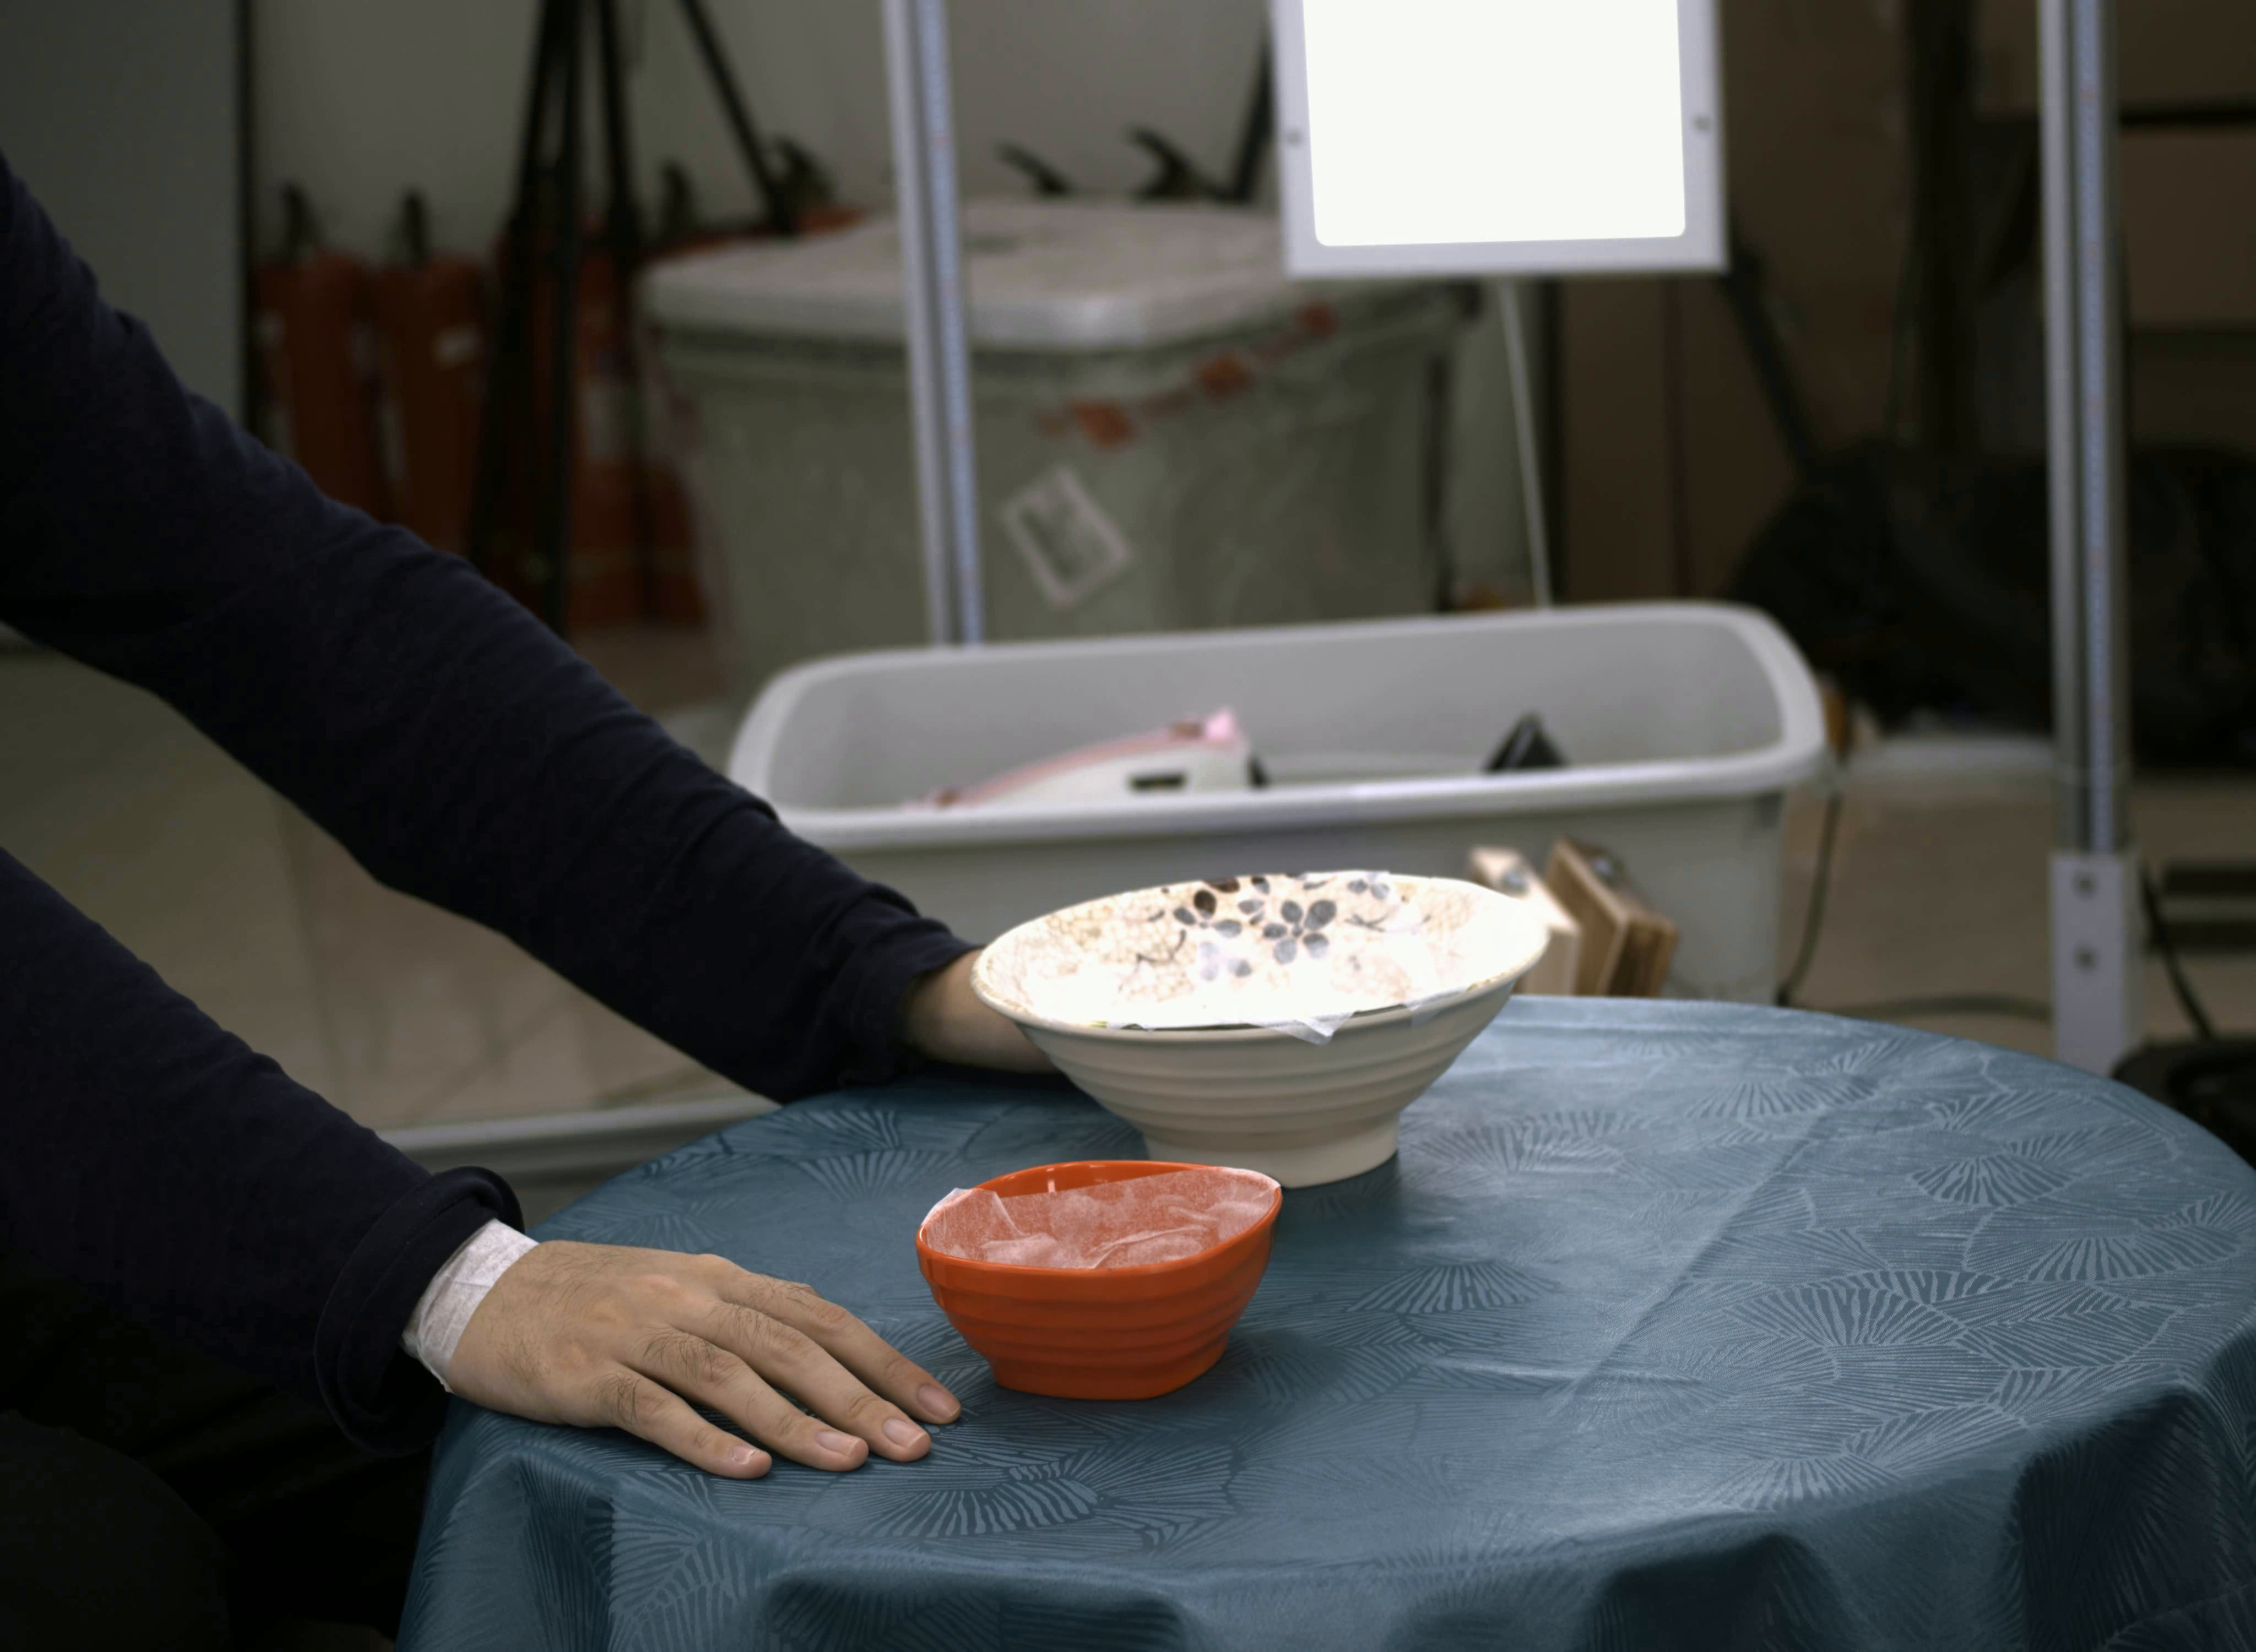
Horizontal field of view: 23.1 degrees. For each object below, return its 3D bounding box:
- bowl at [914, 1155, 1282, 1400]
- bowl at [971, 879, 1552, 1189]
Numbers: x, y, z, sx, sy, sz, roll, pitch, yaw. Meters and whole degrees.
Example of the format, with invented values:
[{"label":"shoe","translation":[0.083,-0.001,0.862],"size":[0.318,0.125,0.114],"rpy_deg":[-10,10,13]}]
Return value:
[{"label":"bowl","translation":[-0.007,0.144,1.726],"size":[0.118,0.051,0.119],"rpy_deg":[-5,15,0]},{"label":"bowl","translation":[0.049,0.079,1.920],"size":[0.203,0.078,0.204],"rpy_deg":[-5,13,0]}]
